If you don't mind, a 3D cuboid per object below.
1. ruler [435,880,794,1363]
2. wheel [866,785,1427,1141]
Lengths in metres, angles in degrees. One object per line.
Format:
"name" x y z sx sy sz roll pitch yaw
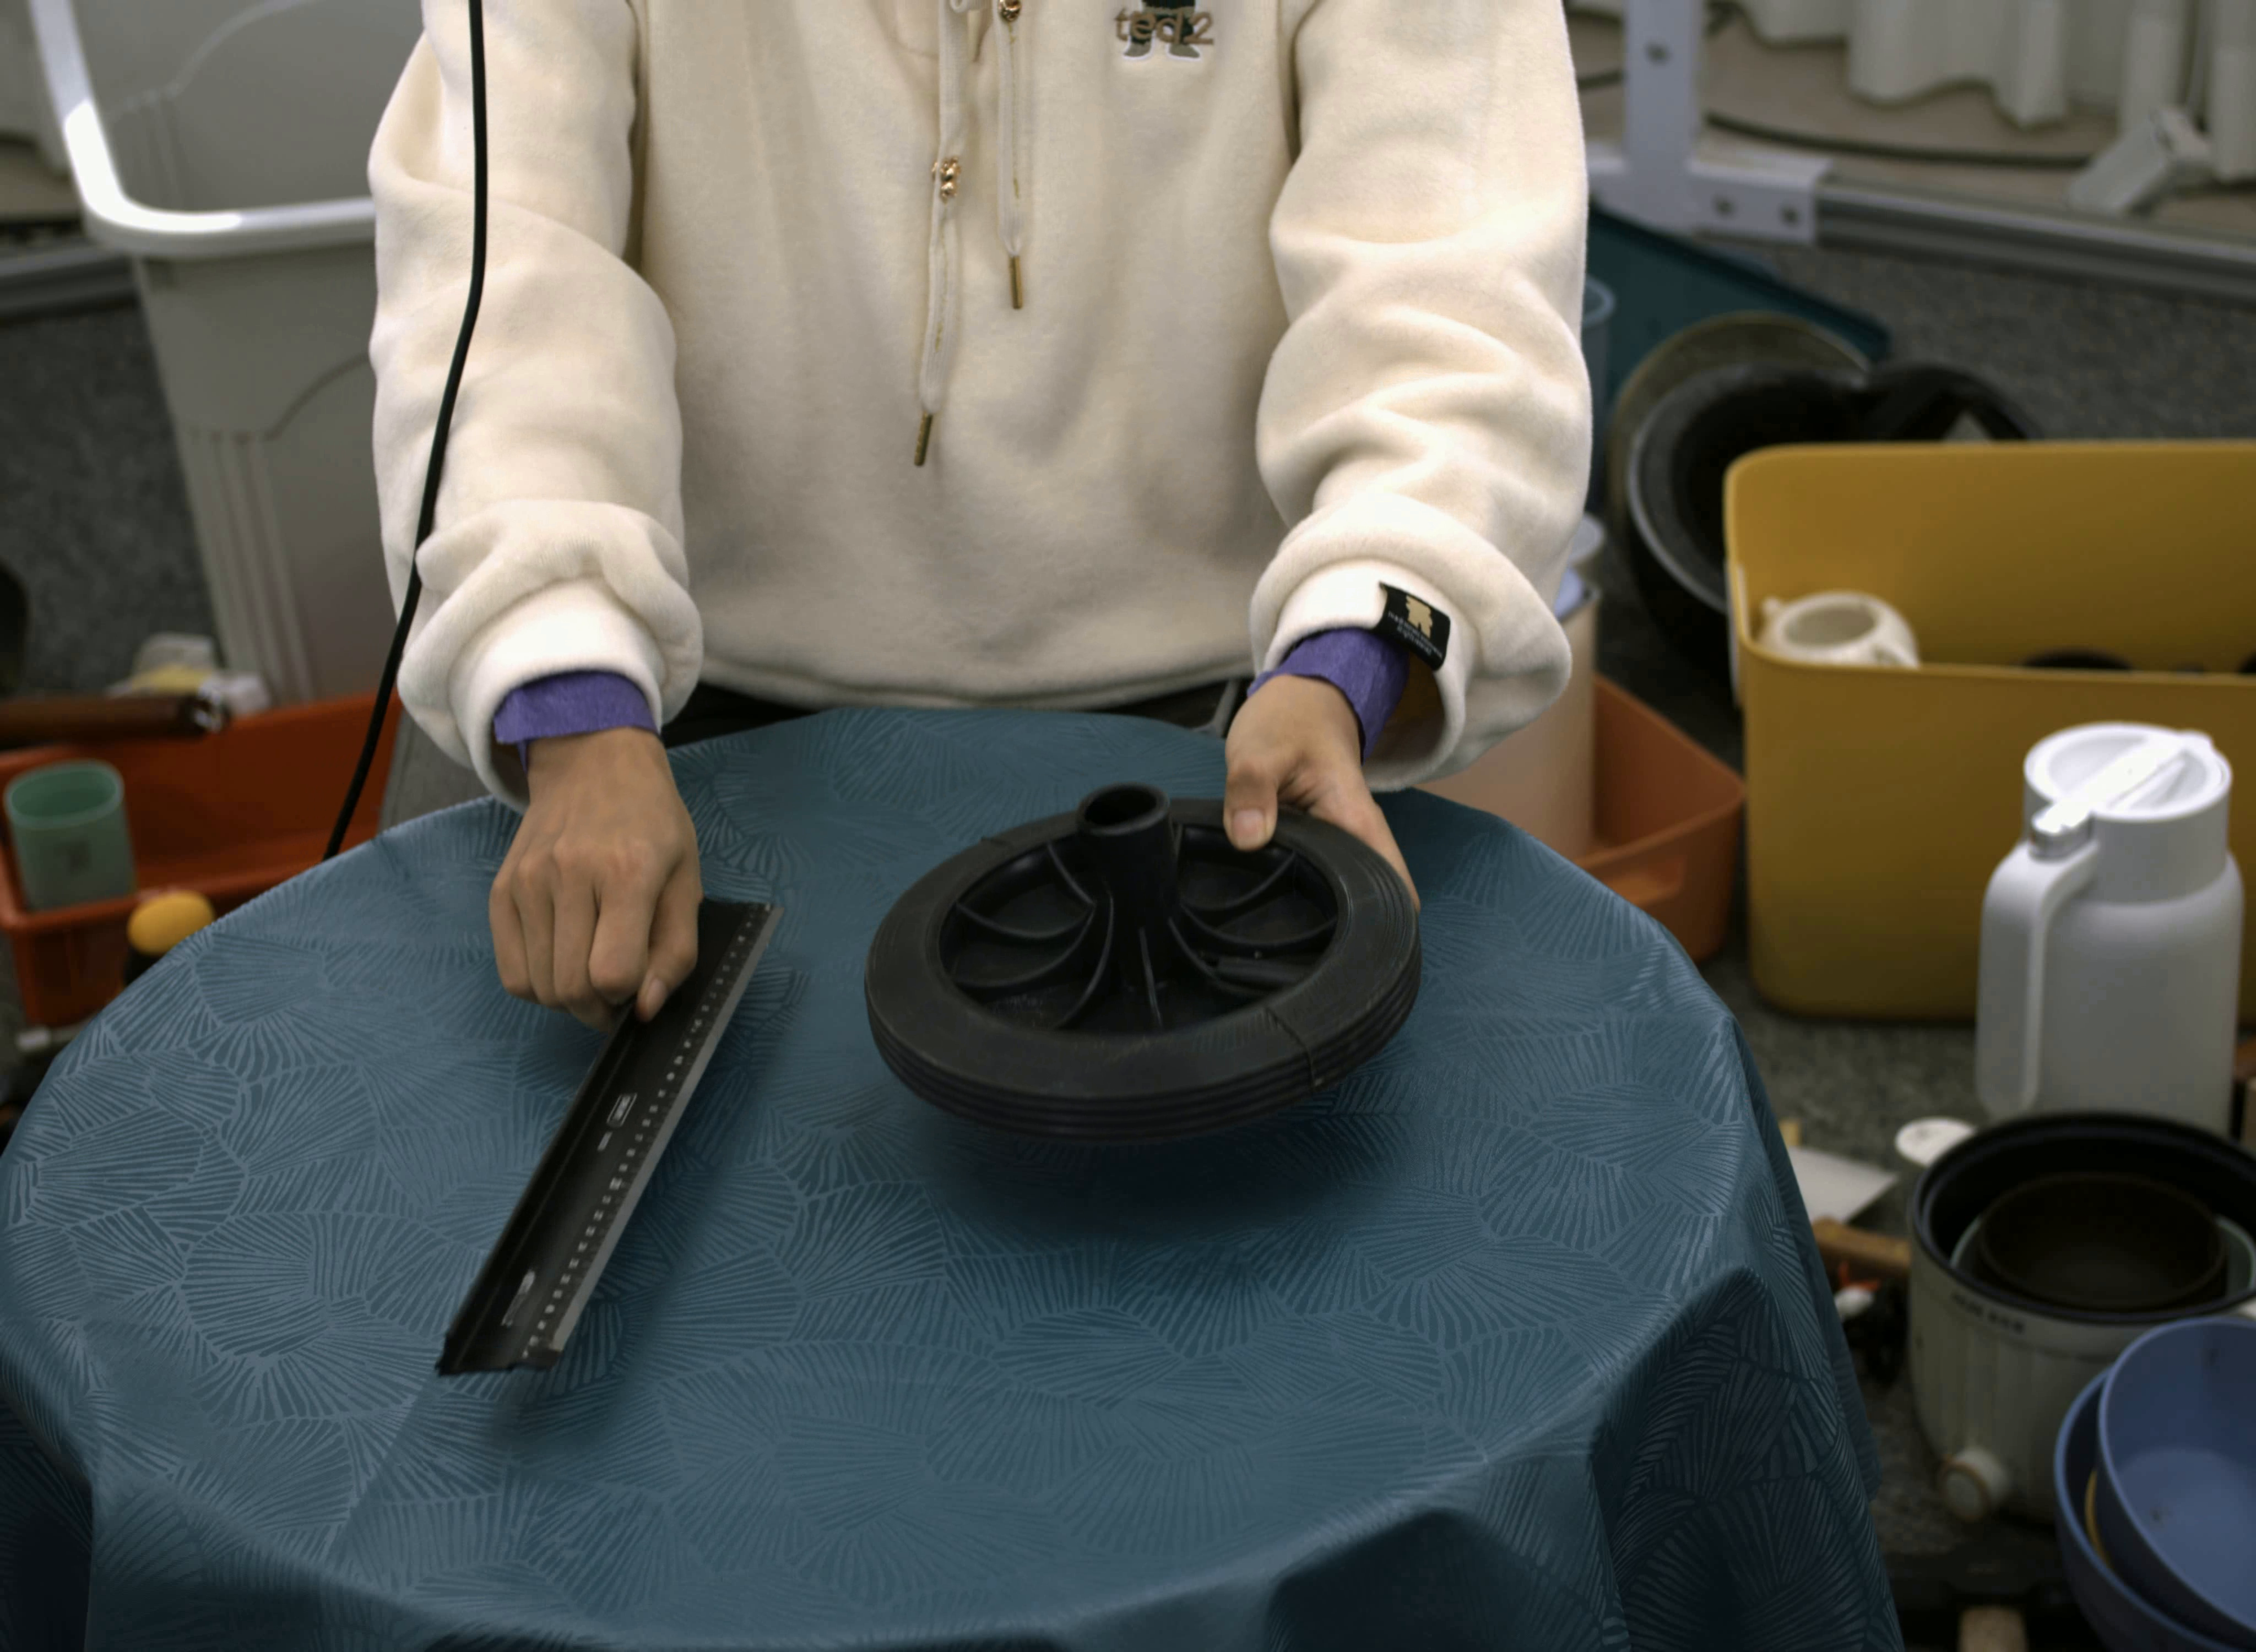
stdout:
"ruler" -0.167 0.092 1.861 0.039 0.017 0.317 -1 25 13
"wheel" 0.004 0.028 1.880 0.189 0.078 0.190 -5 30 3
